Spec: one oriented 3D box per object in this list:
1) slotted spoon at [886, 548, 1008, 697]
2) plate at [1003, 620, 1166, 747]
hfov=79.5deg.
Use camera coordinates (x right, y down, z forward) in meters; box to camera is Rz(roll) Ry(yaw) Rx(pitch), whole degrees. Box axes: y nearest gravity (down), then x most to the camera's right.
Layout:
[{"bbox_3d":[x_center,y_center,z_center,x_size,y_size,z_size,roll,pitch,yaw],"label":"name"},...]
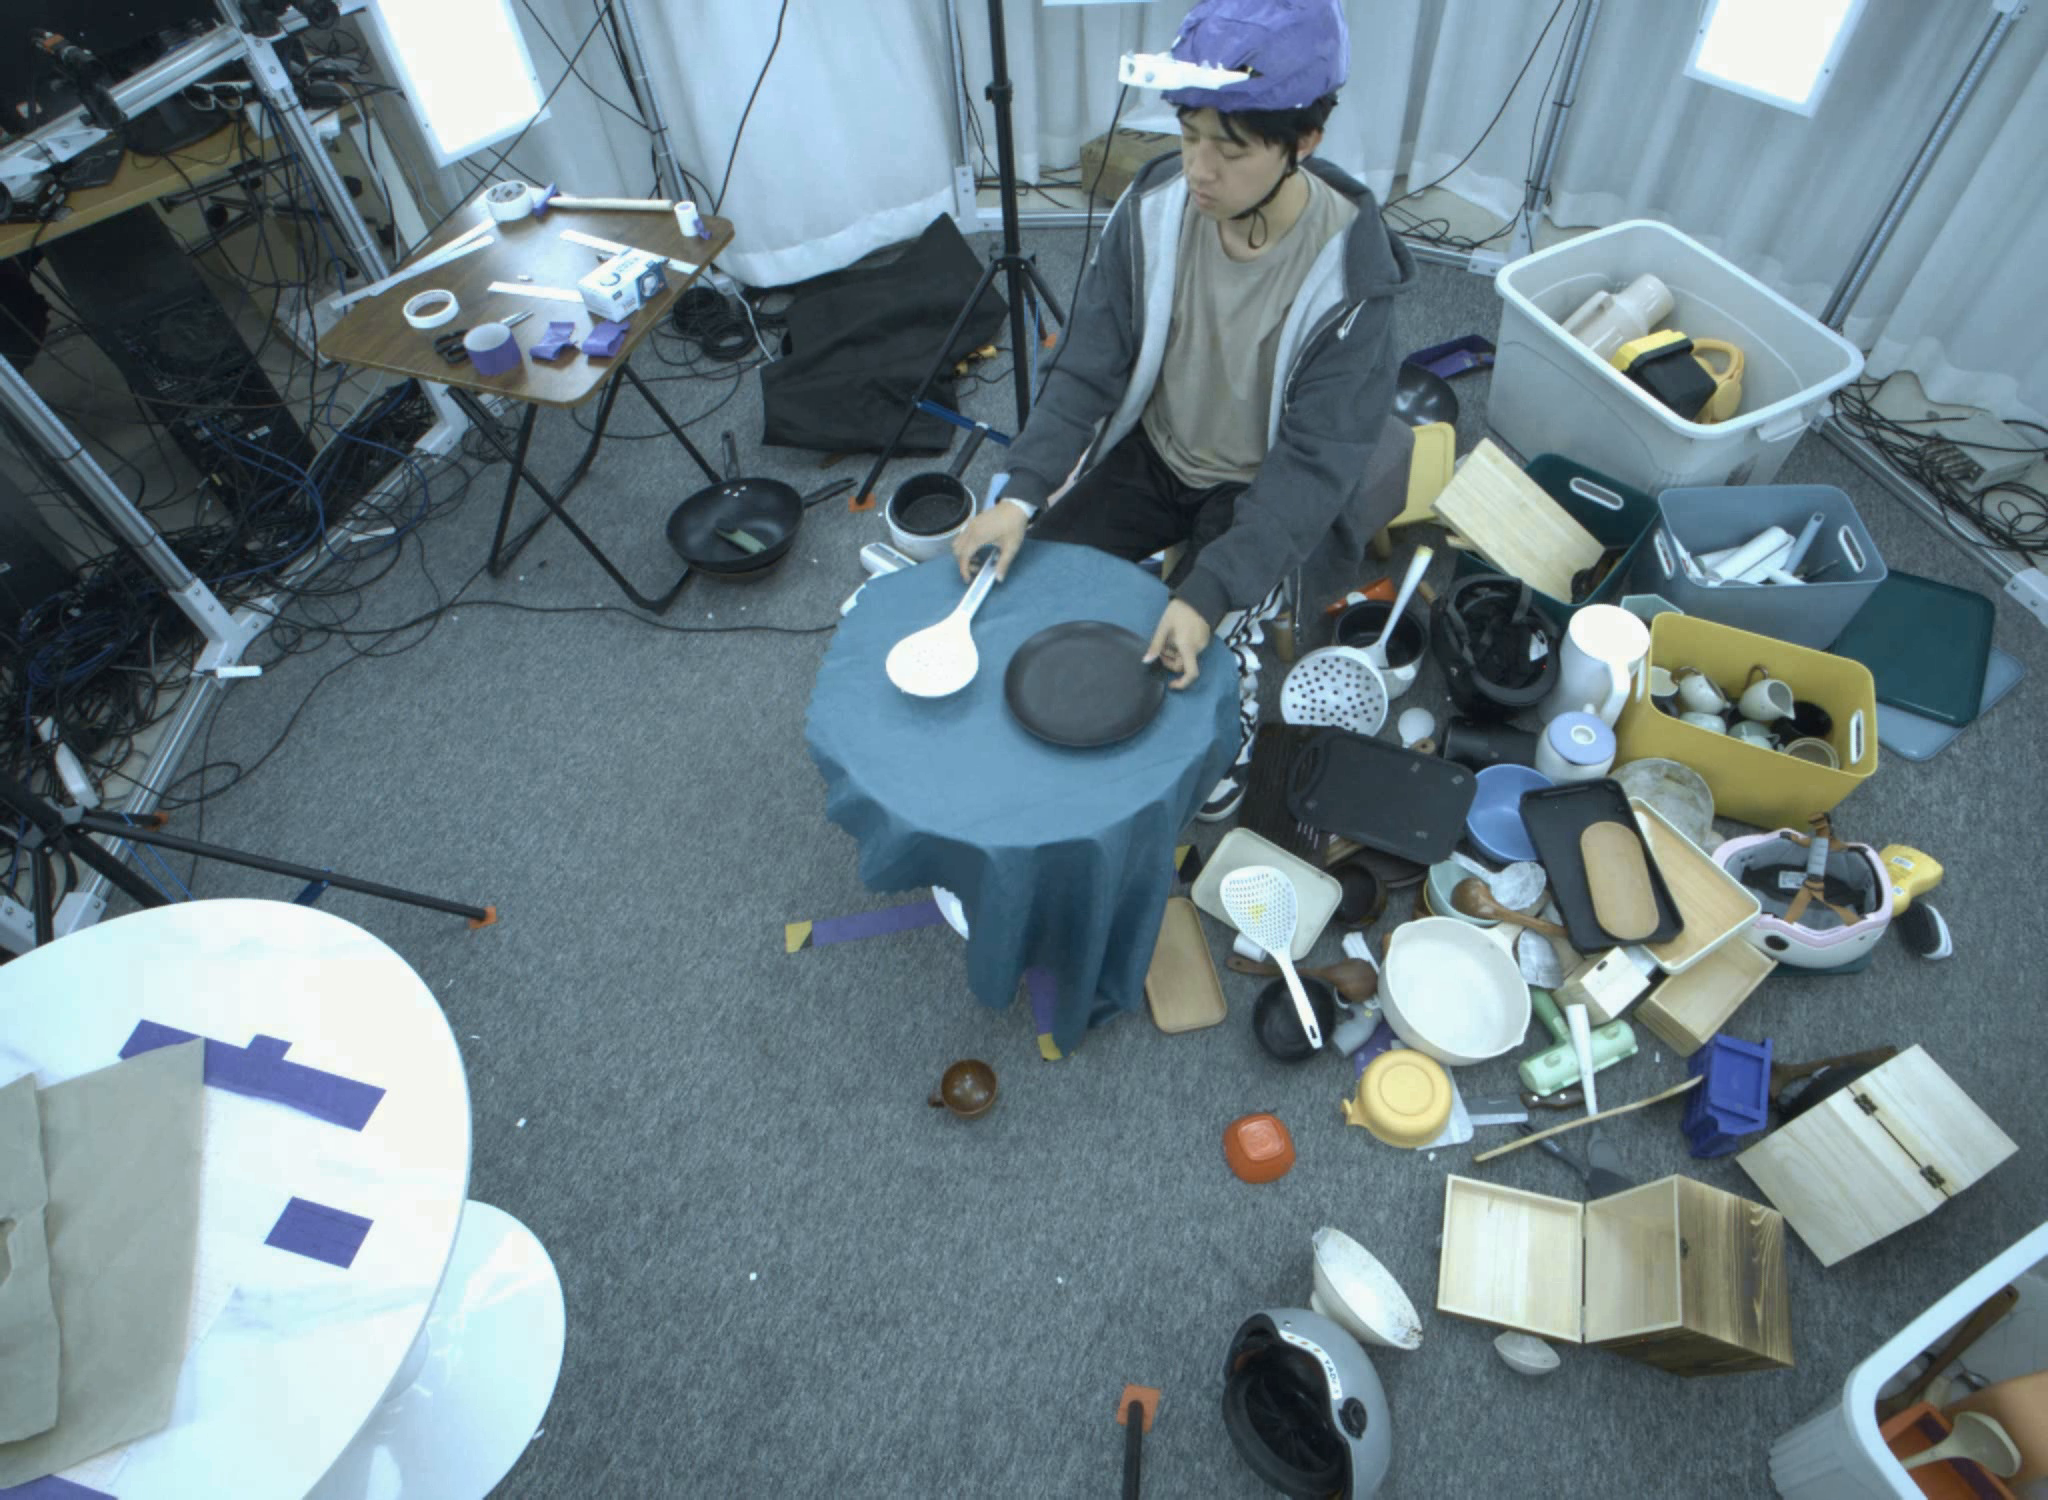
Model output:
[{"bbox_3d":[-0.101,-0.204,1.910,0.135,0.046,0.349,17,56,12],"label":"slotted spoon"},{"bbox_3d":[0.090,-0.099,1.843,0.244,0.024,0.242,0,55,2],"label":"plate"}]
